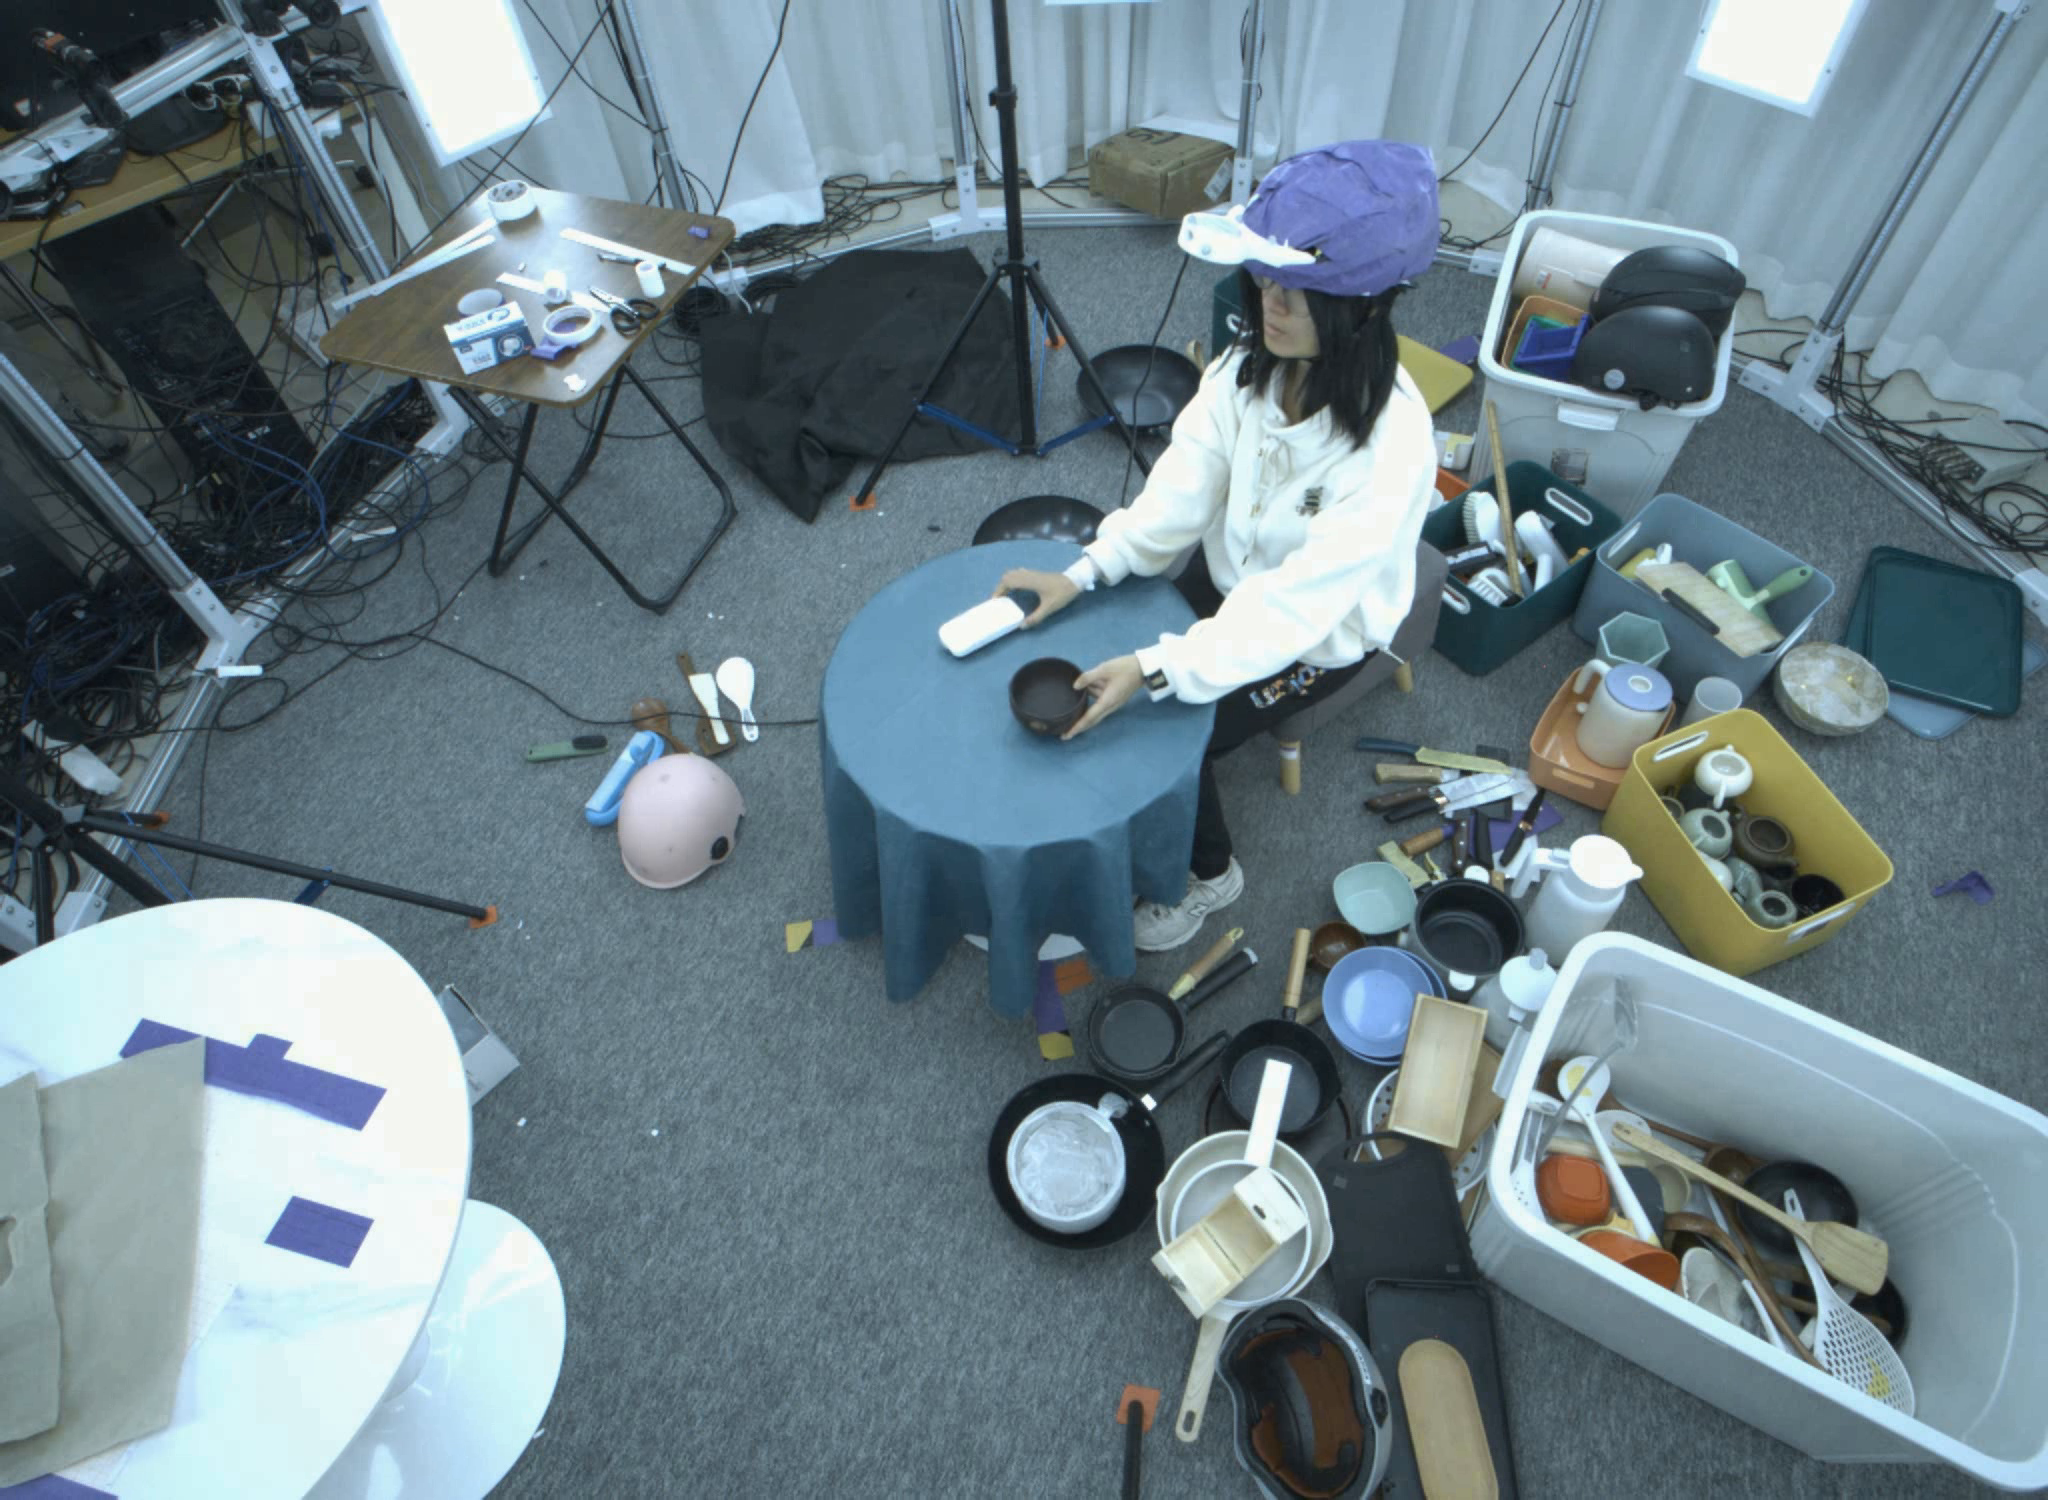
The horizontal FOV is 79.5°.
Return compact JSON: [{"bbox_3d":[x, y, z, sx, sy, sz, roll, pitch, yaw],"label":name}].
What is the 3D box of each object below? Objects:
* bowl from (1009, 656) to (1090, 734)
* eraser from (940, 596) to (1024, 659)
[{"bbox_3d":[0.037,-0.072,1.793,0.118,0.070,0.117,0,56,1],"label":"bowl"},{"bbox_3d":[-0.064,-0.191,1.906,0.132,0.035,0.062,-30,59,-17],"label":"eraser"}]
